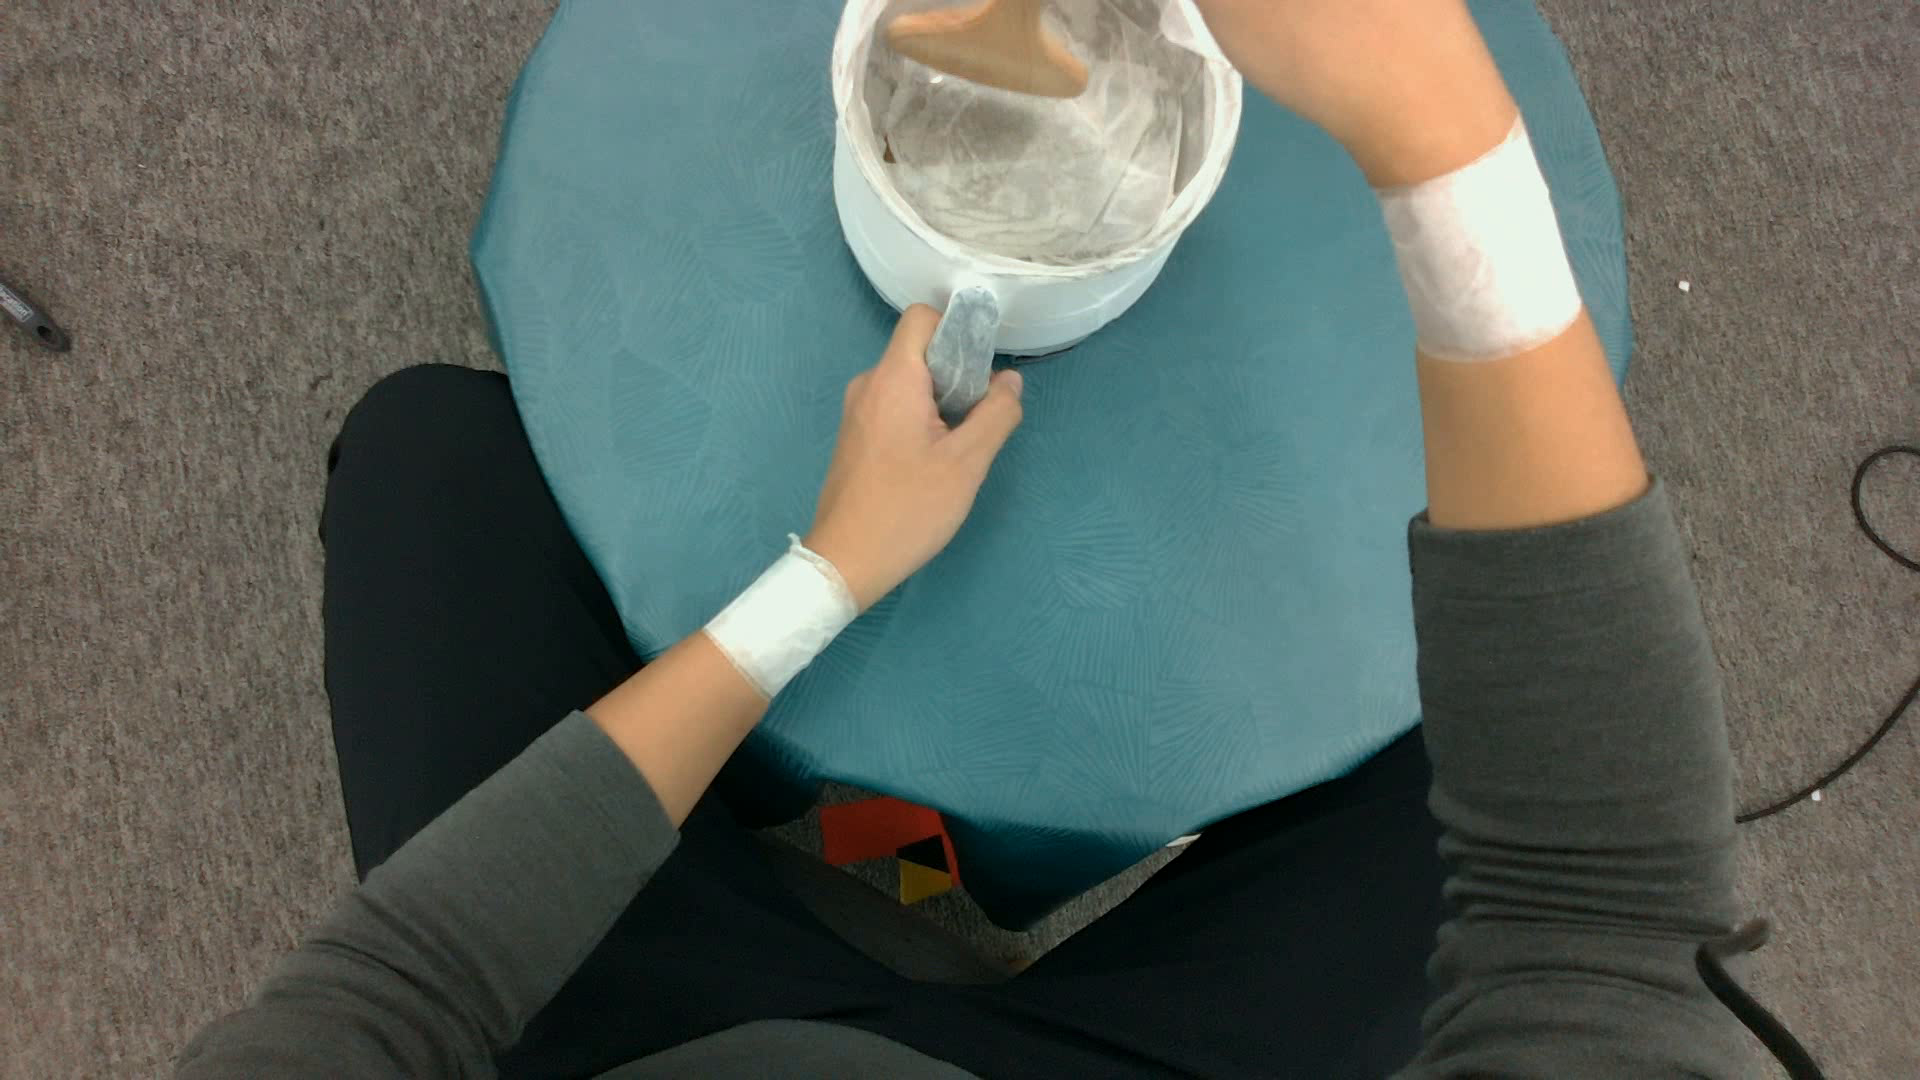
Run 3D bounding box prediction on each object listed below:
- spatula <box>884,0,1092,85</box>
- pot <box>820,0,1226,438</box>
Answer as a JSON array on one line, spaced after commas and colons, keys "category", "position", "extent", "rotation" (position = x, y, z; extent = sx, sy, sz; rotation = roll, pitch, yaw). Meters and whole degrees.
[{"category": "spatula", "position": [0.036, -0.210, 0.472], "extent": [0.096, 0.390, 0.018], "rotation": [10, 92, -9]}, {"category": "pot", "position": [0.015, -0.167, 0.652], "extent": [0.179, 0.136, 0.234], "rotation": [16, 80, -4]}]
